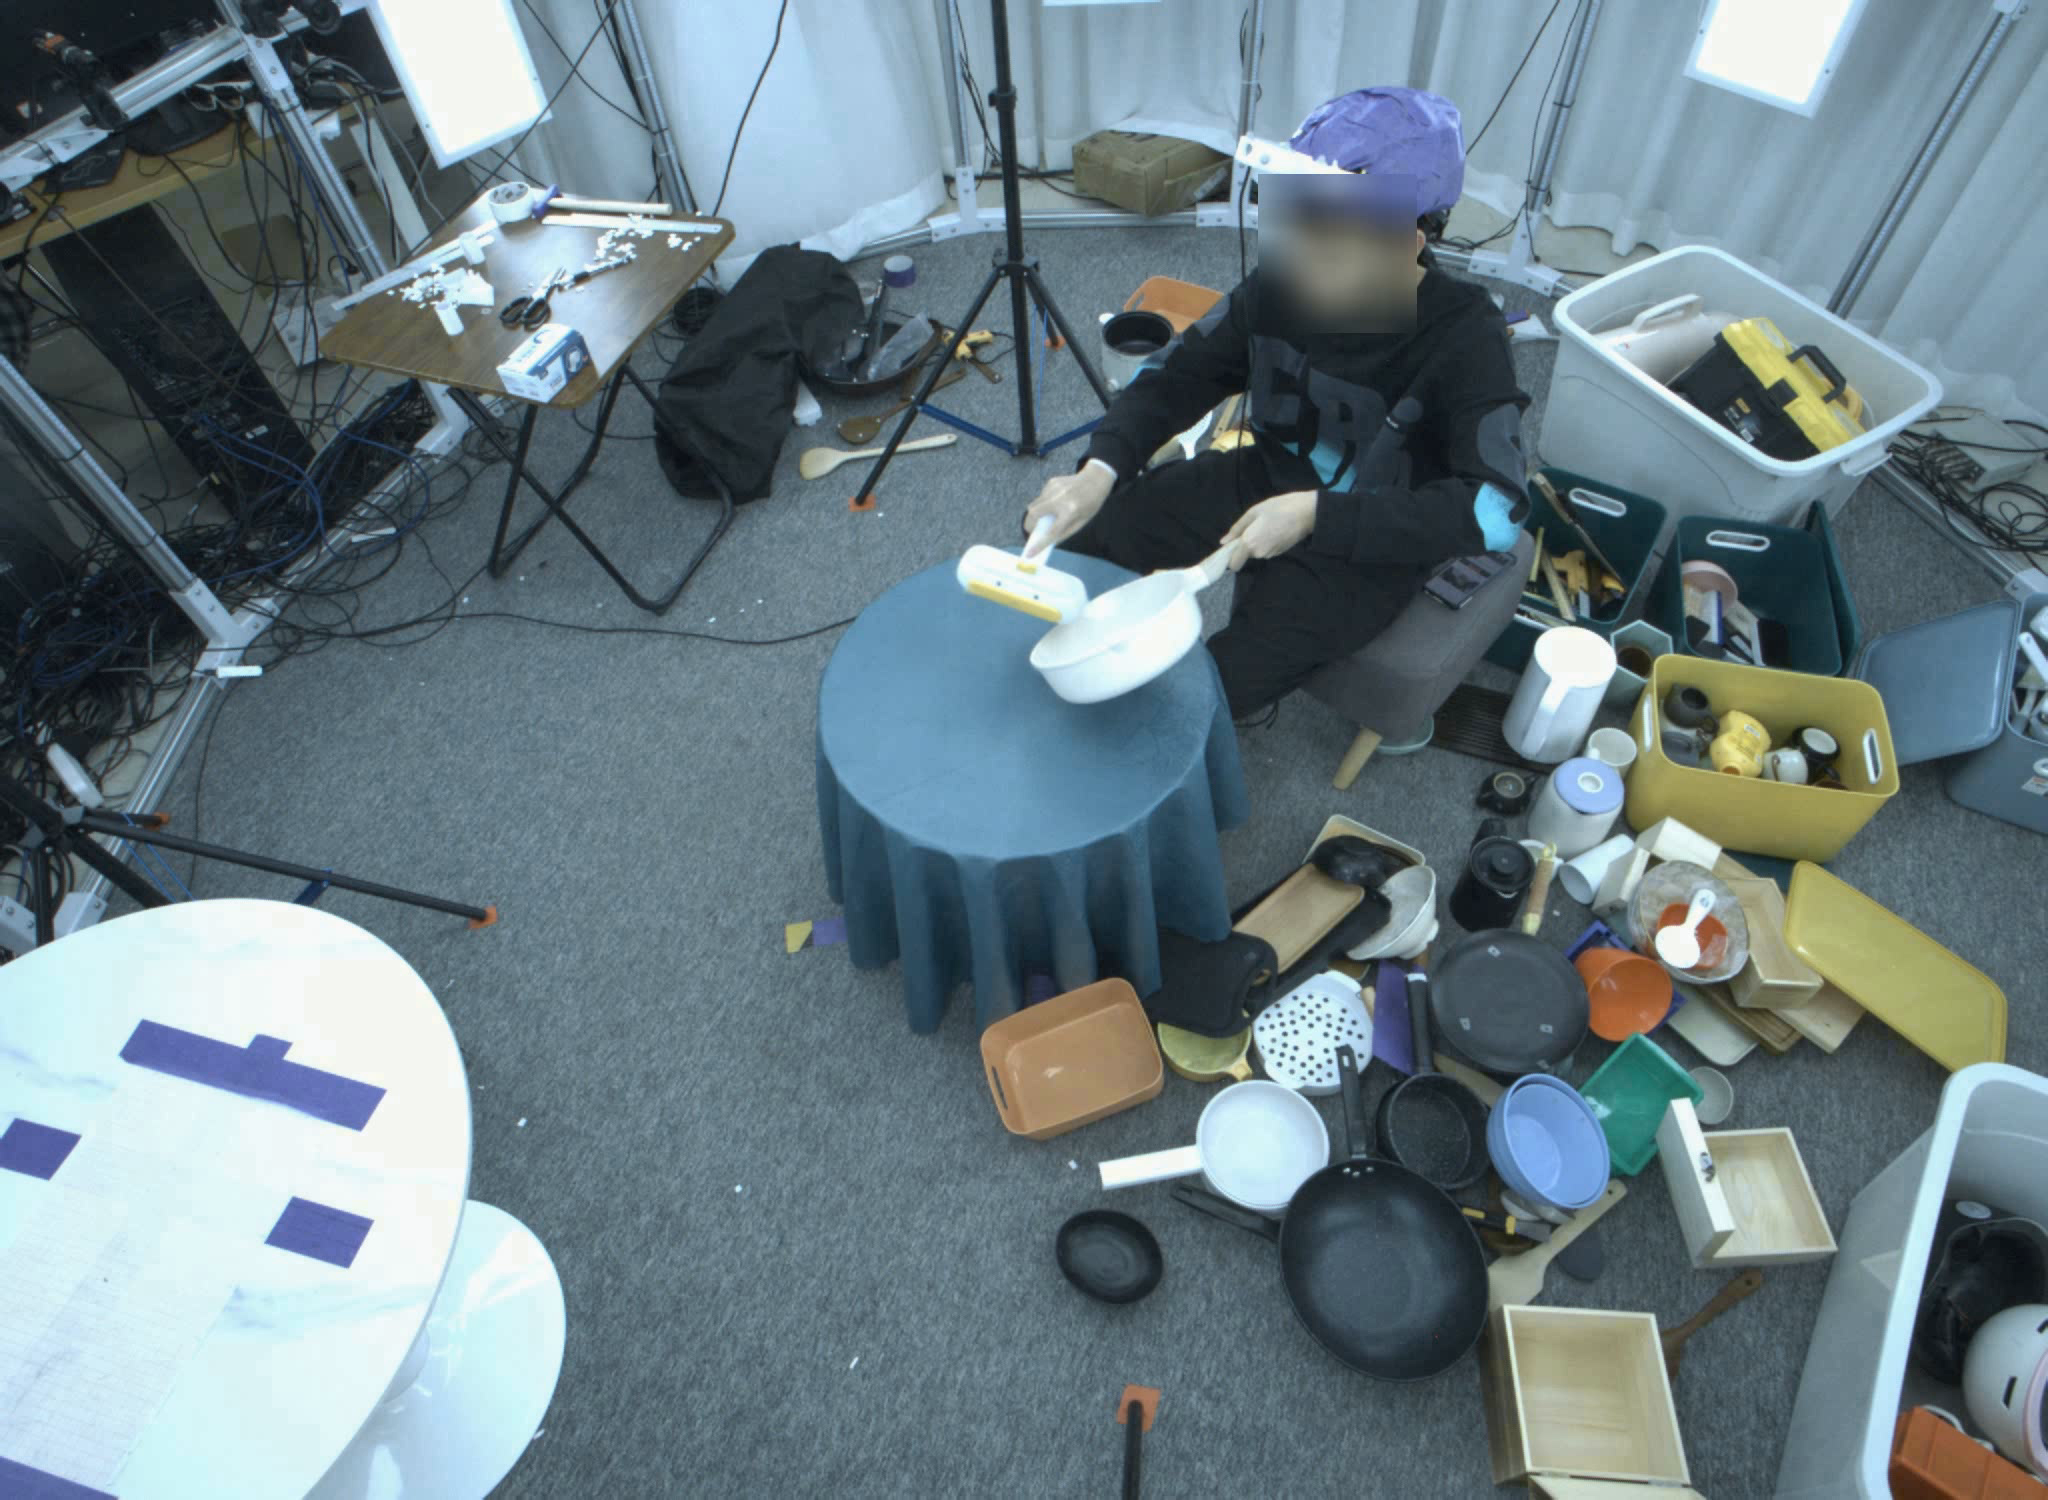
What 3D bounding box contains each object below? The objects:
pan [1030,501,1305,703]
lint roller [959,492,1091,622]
[{"bbox_3d":[0.215,-0.201,1.717,0.434,0.103,0.261,-28,17,6],"label":"pan"},{"bbox_3d":[0.019,-0.289,1.782,0.191,0.075,0.192,16,61,9],"label":"lint roller"}]
